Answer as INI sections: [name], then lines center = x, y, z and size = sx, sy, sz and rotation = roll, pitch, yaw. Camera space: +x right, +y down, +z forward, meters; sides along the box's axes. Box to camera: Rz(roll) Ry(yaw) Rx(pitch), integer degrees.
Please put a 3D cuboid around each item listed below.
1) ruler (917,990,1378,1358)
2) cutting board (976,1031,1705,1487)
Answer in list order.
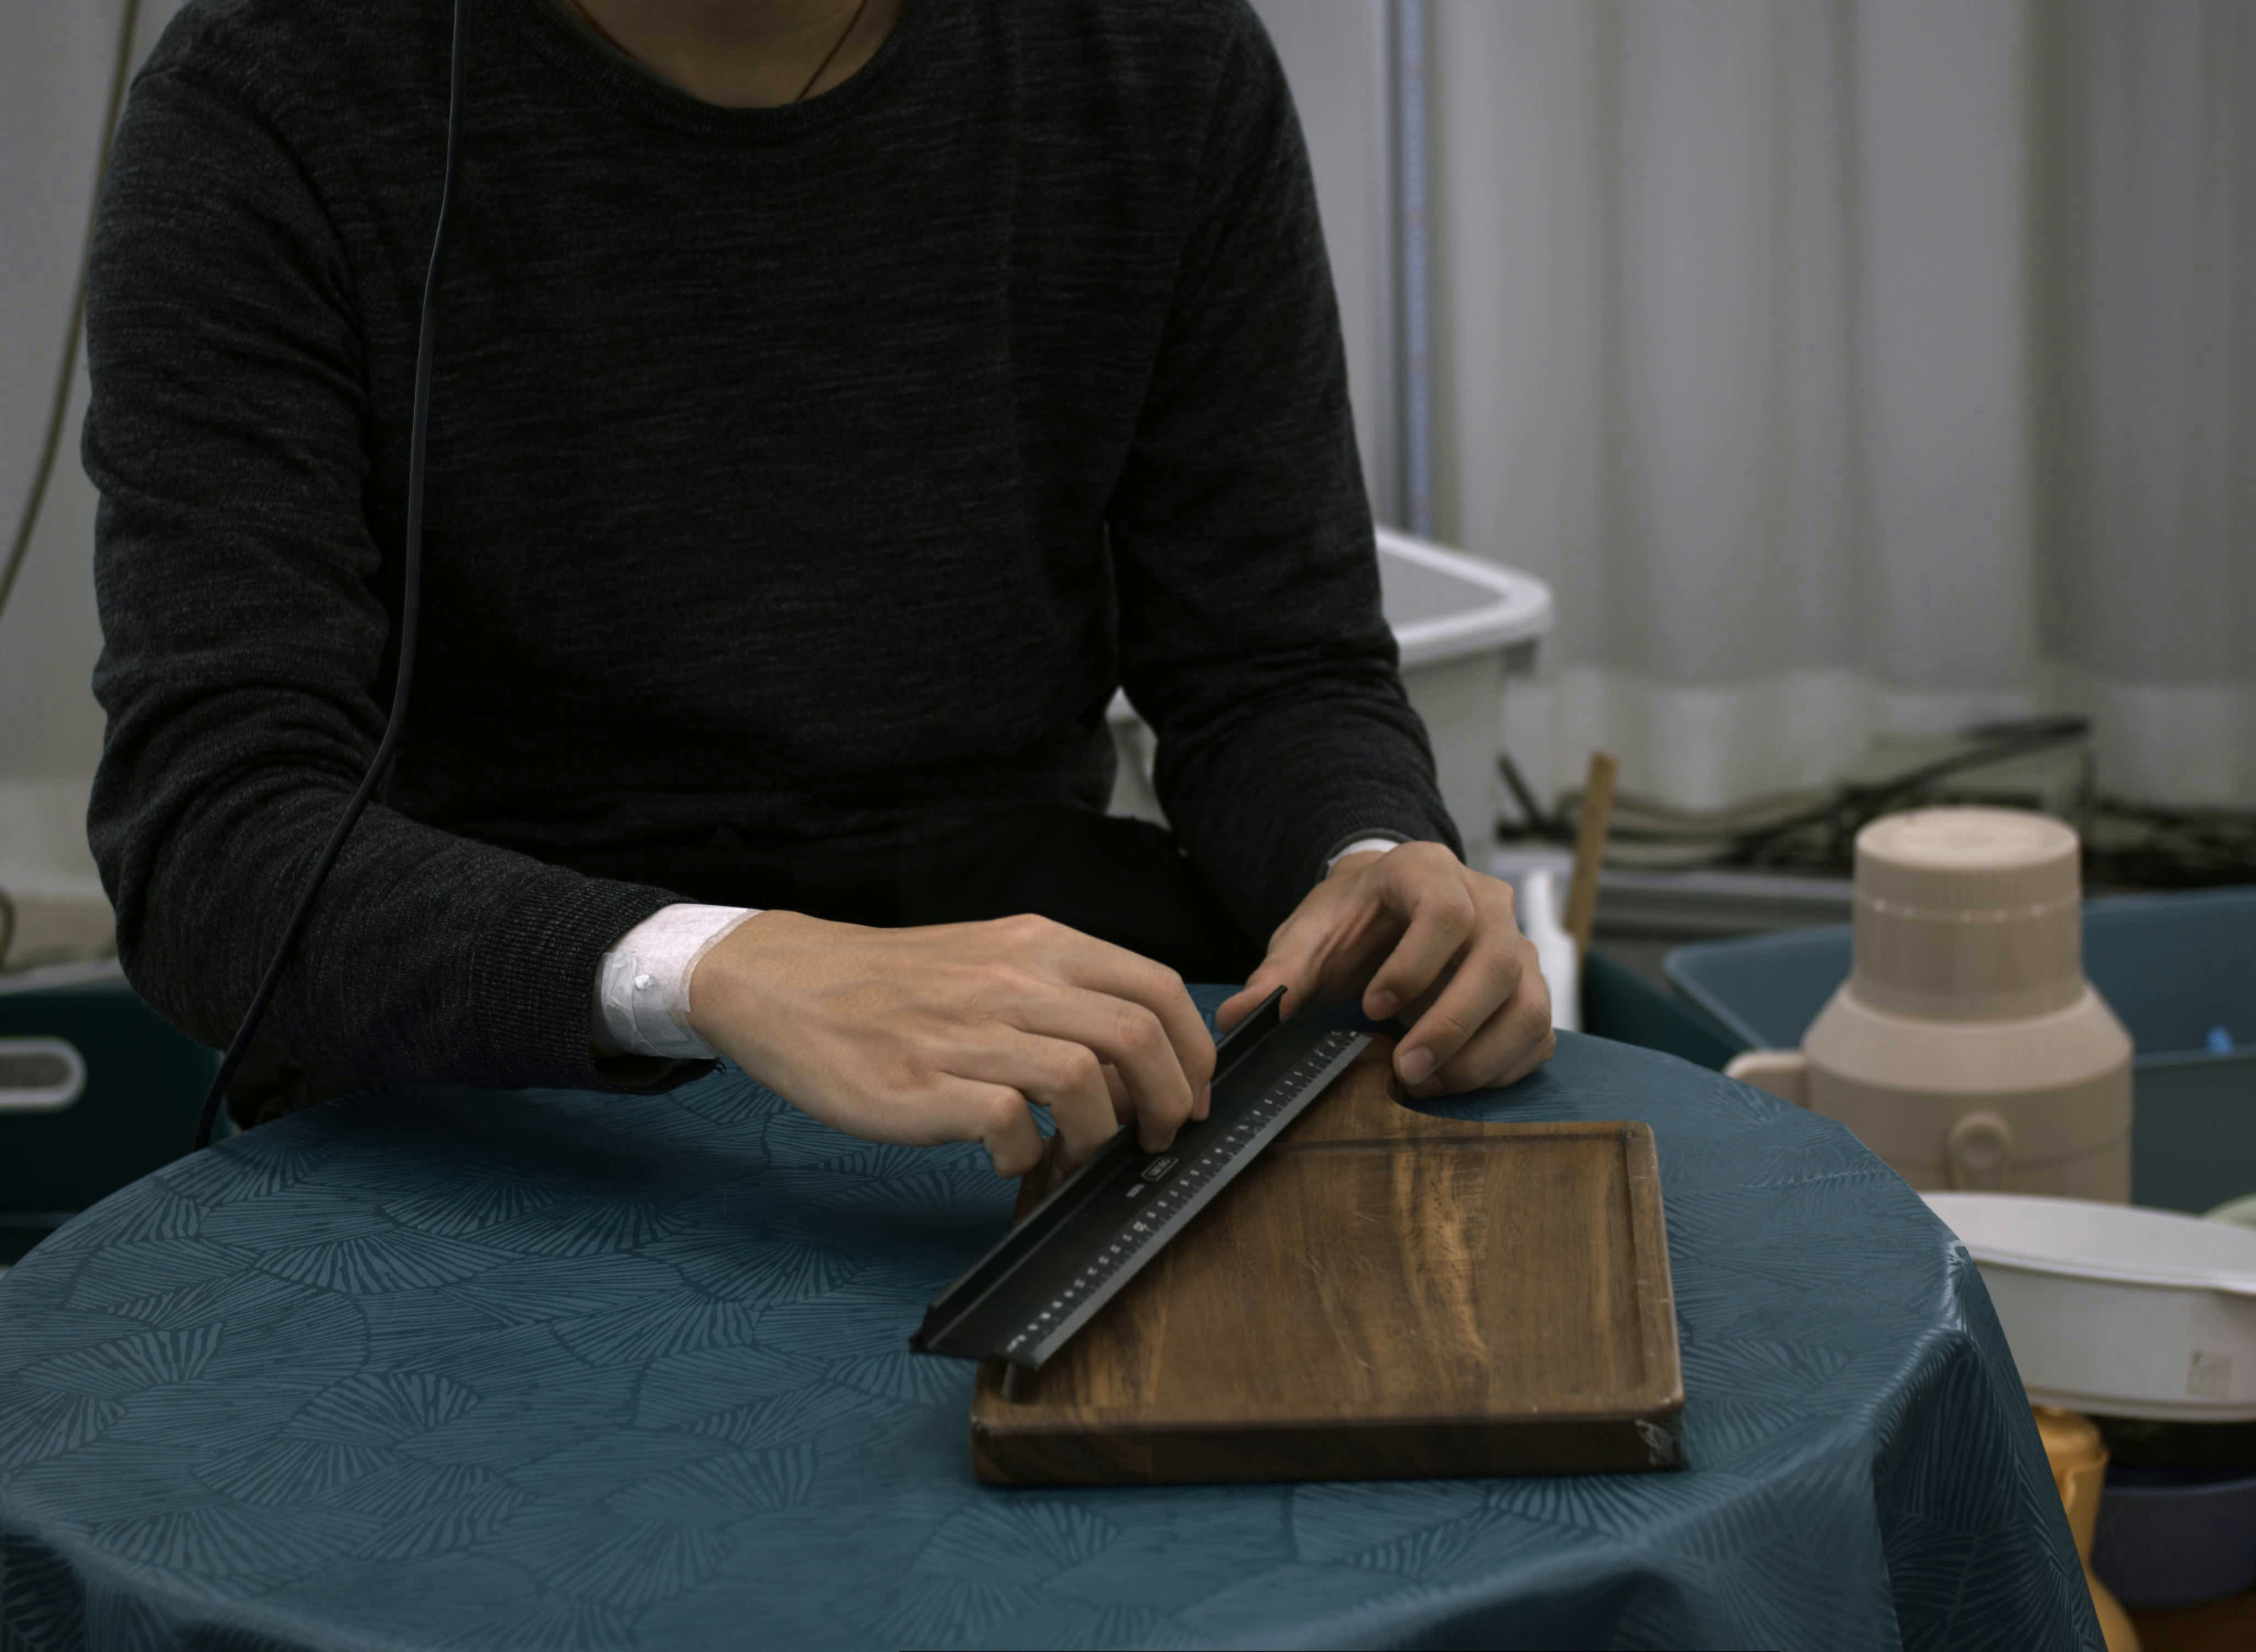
[ruler]
center = 0.011, 0.099, 1.631
size = 0.039, 0.017, 0.313
rotation = 8, 17, 18
[cutting board]
center = 0.063, 0.122, 1.633
size = 0.200, 0.023, 0.354
rotation = -2, 15, 3
